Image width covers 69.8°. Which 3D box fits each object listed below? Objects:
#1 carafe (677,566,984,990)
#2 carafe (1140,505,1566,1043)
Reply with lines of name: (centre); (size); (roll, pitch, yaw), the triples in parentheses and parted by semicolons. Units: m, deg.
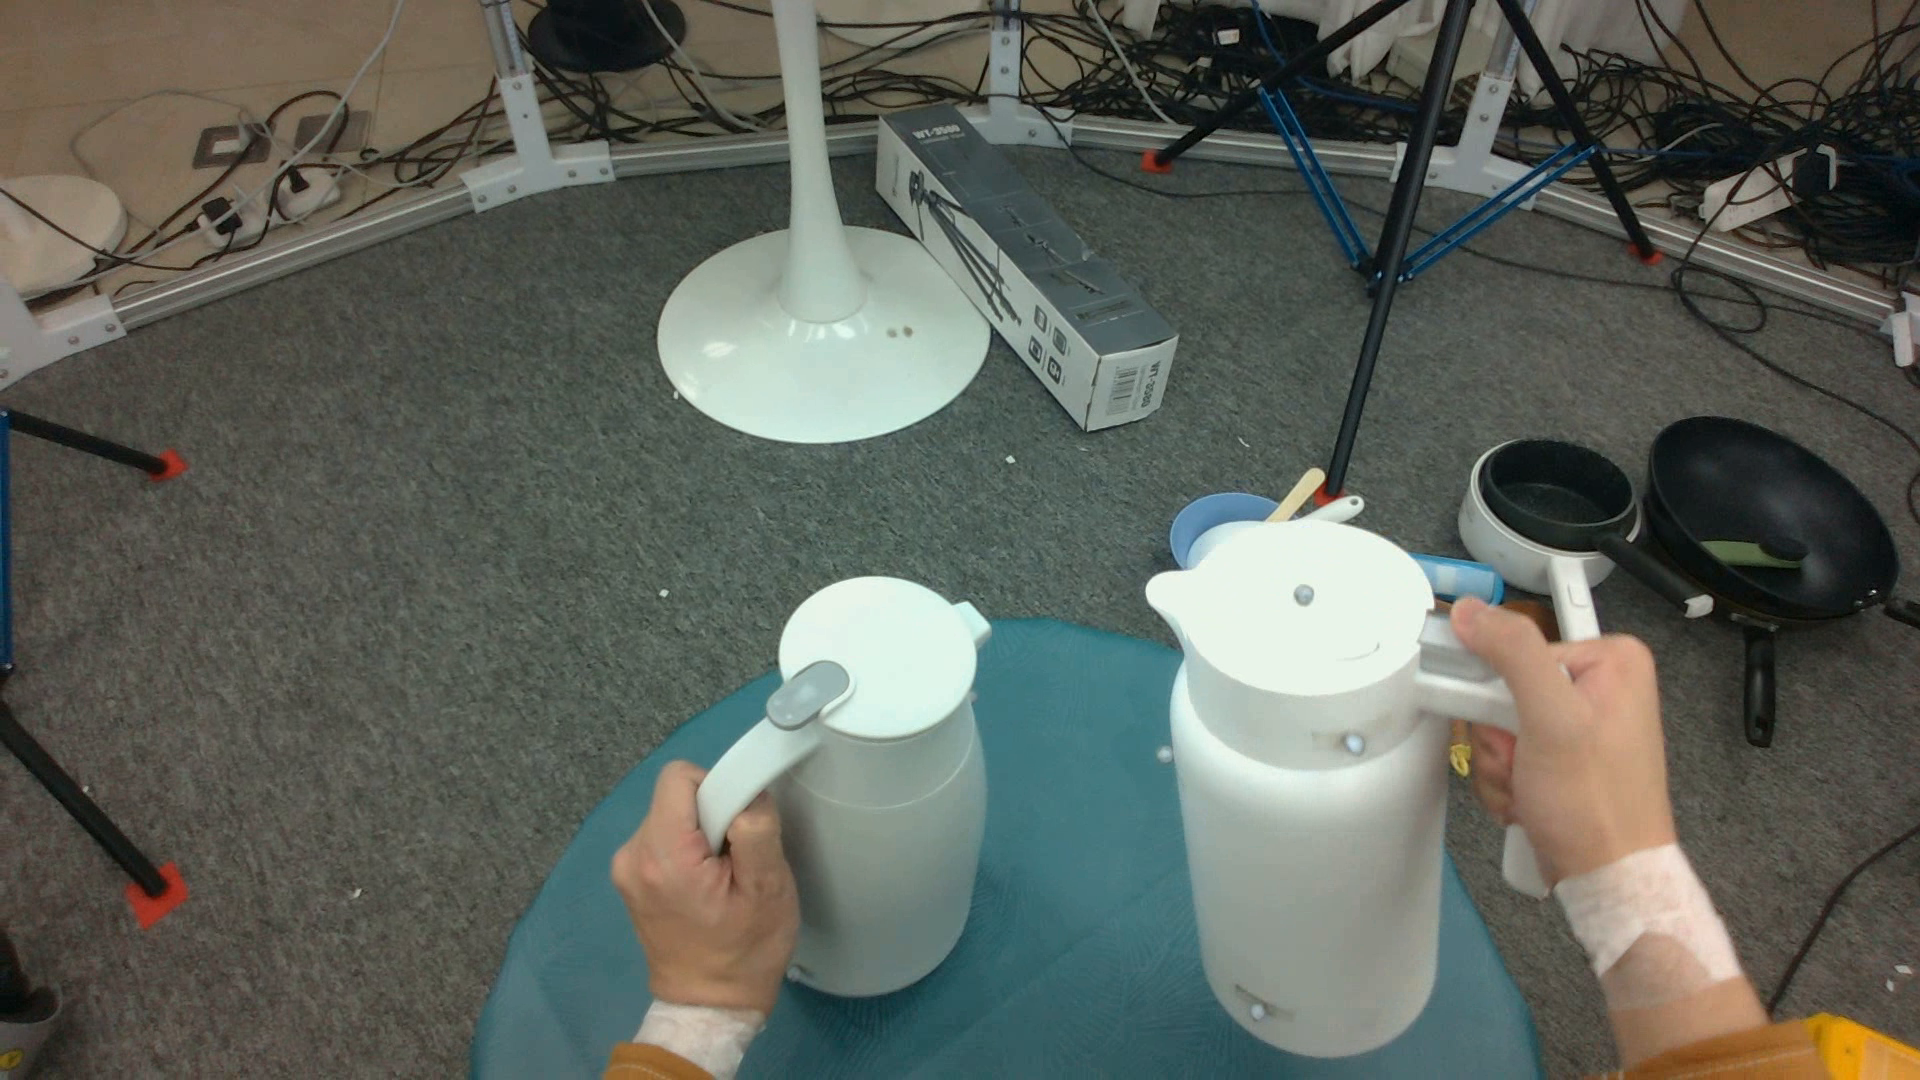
carafe: (-0.066, 0.131, 0.710); (0.168, 0.247, 0.132); (-29, 59, -27)
carafe: (0.175, 0.117, 0.629); (0.172, 0.268, 0.124); (11, 44, 25)
